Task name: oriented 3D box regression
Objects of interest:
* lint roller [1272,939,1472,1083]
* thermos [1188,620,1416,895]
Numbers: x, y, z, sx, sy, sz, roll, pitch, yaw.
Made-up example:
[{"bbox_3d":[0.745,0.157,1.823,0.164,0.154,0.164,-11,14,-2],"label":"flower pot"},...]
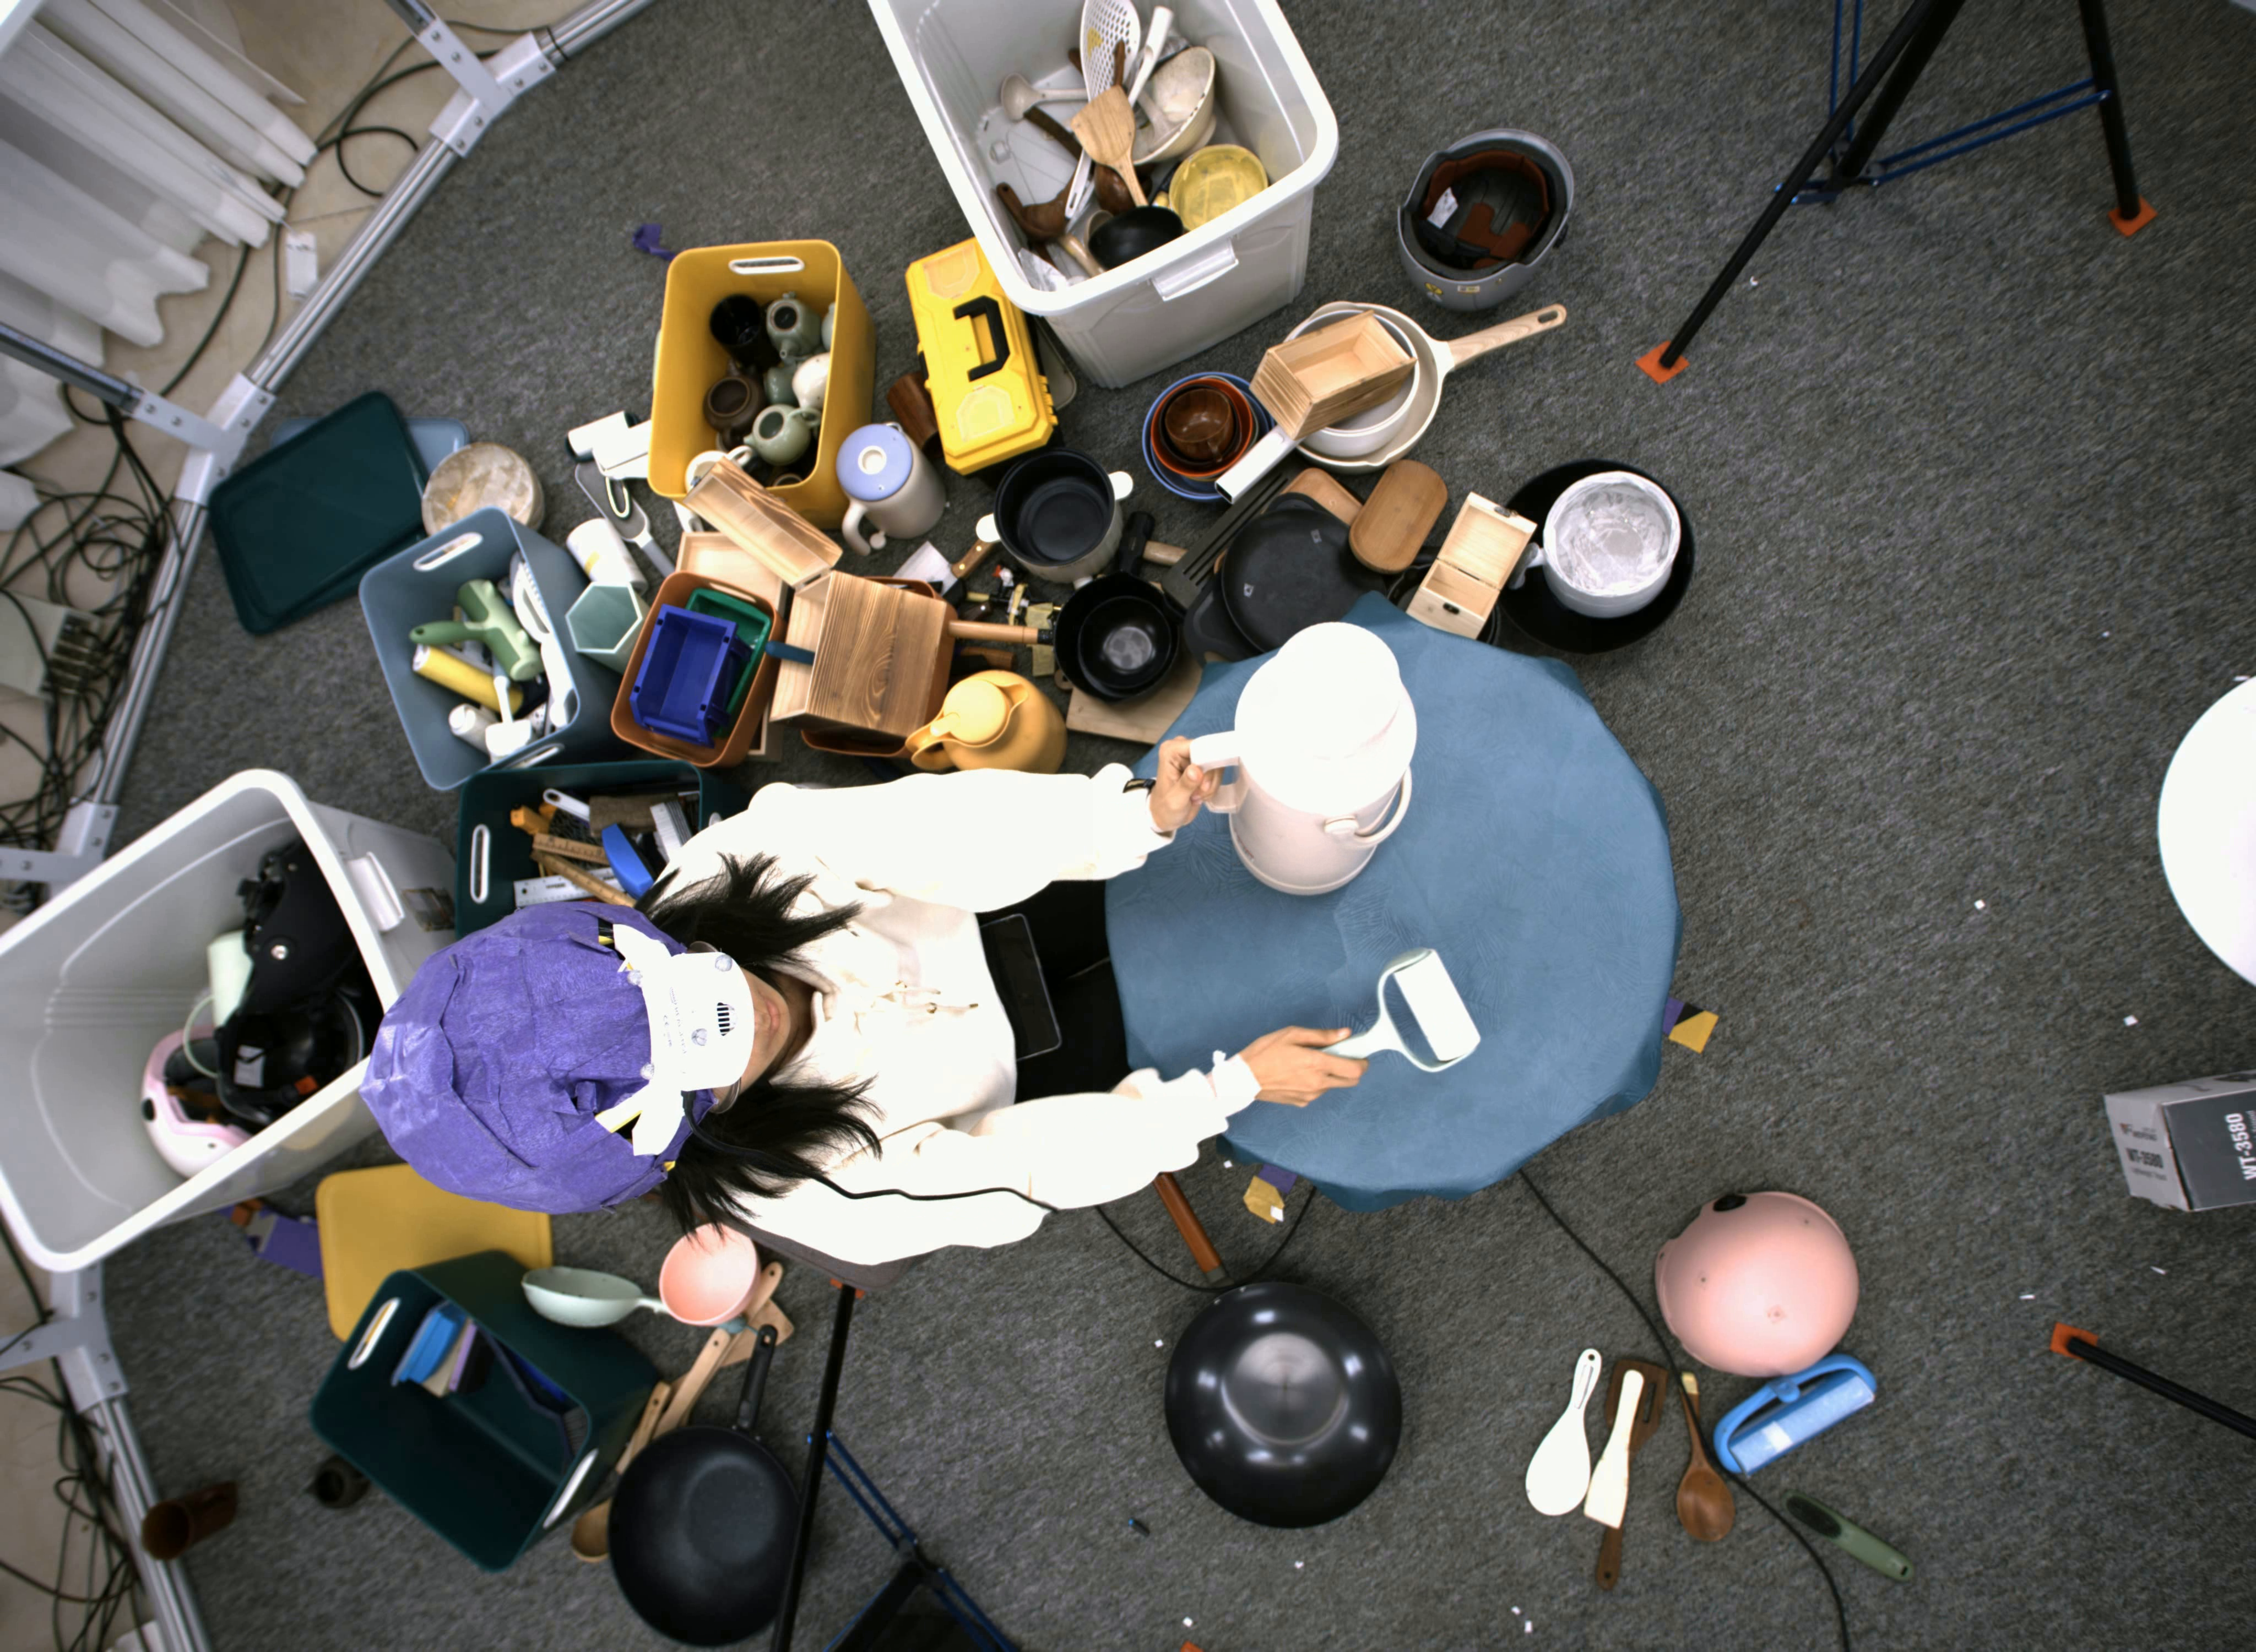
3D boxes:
[{"bbox_3d":[0.230,0.201,1.365,0.198,0.048,0.117,-28,97,6],"label":"lint roller"},{"bbox_3d":[0.161,-0.058,1.273,0.207,0.411,0.173,-9,75,1],"label":"thermos"}]
